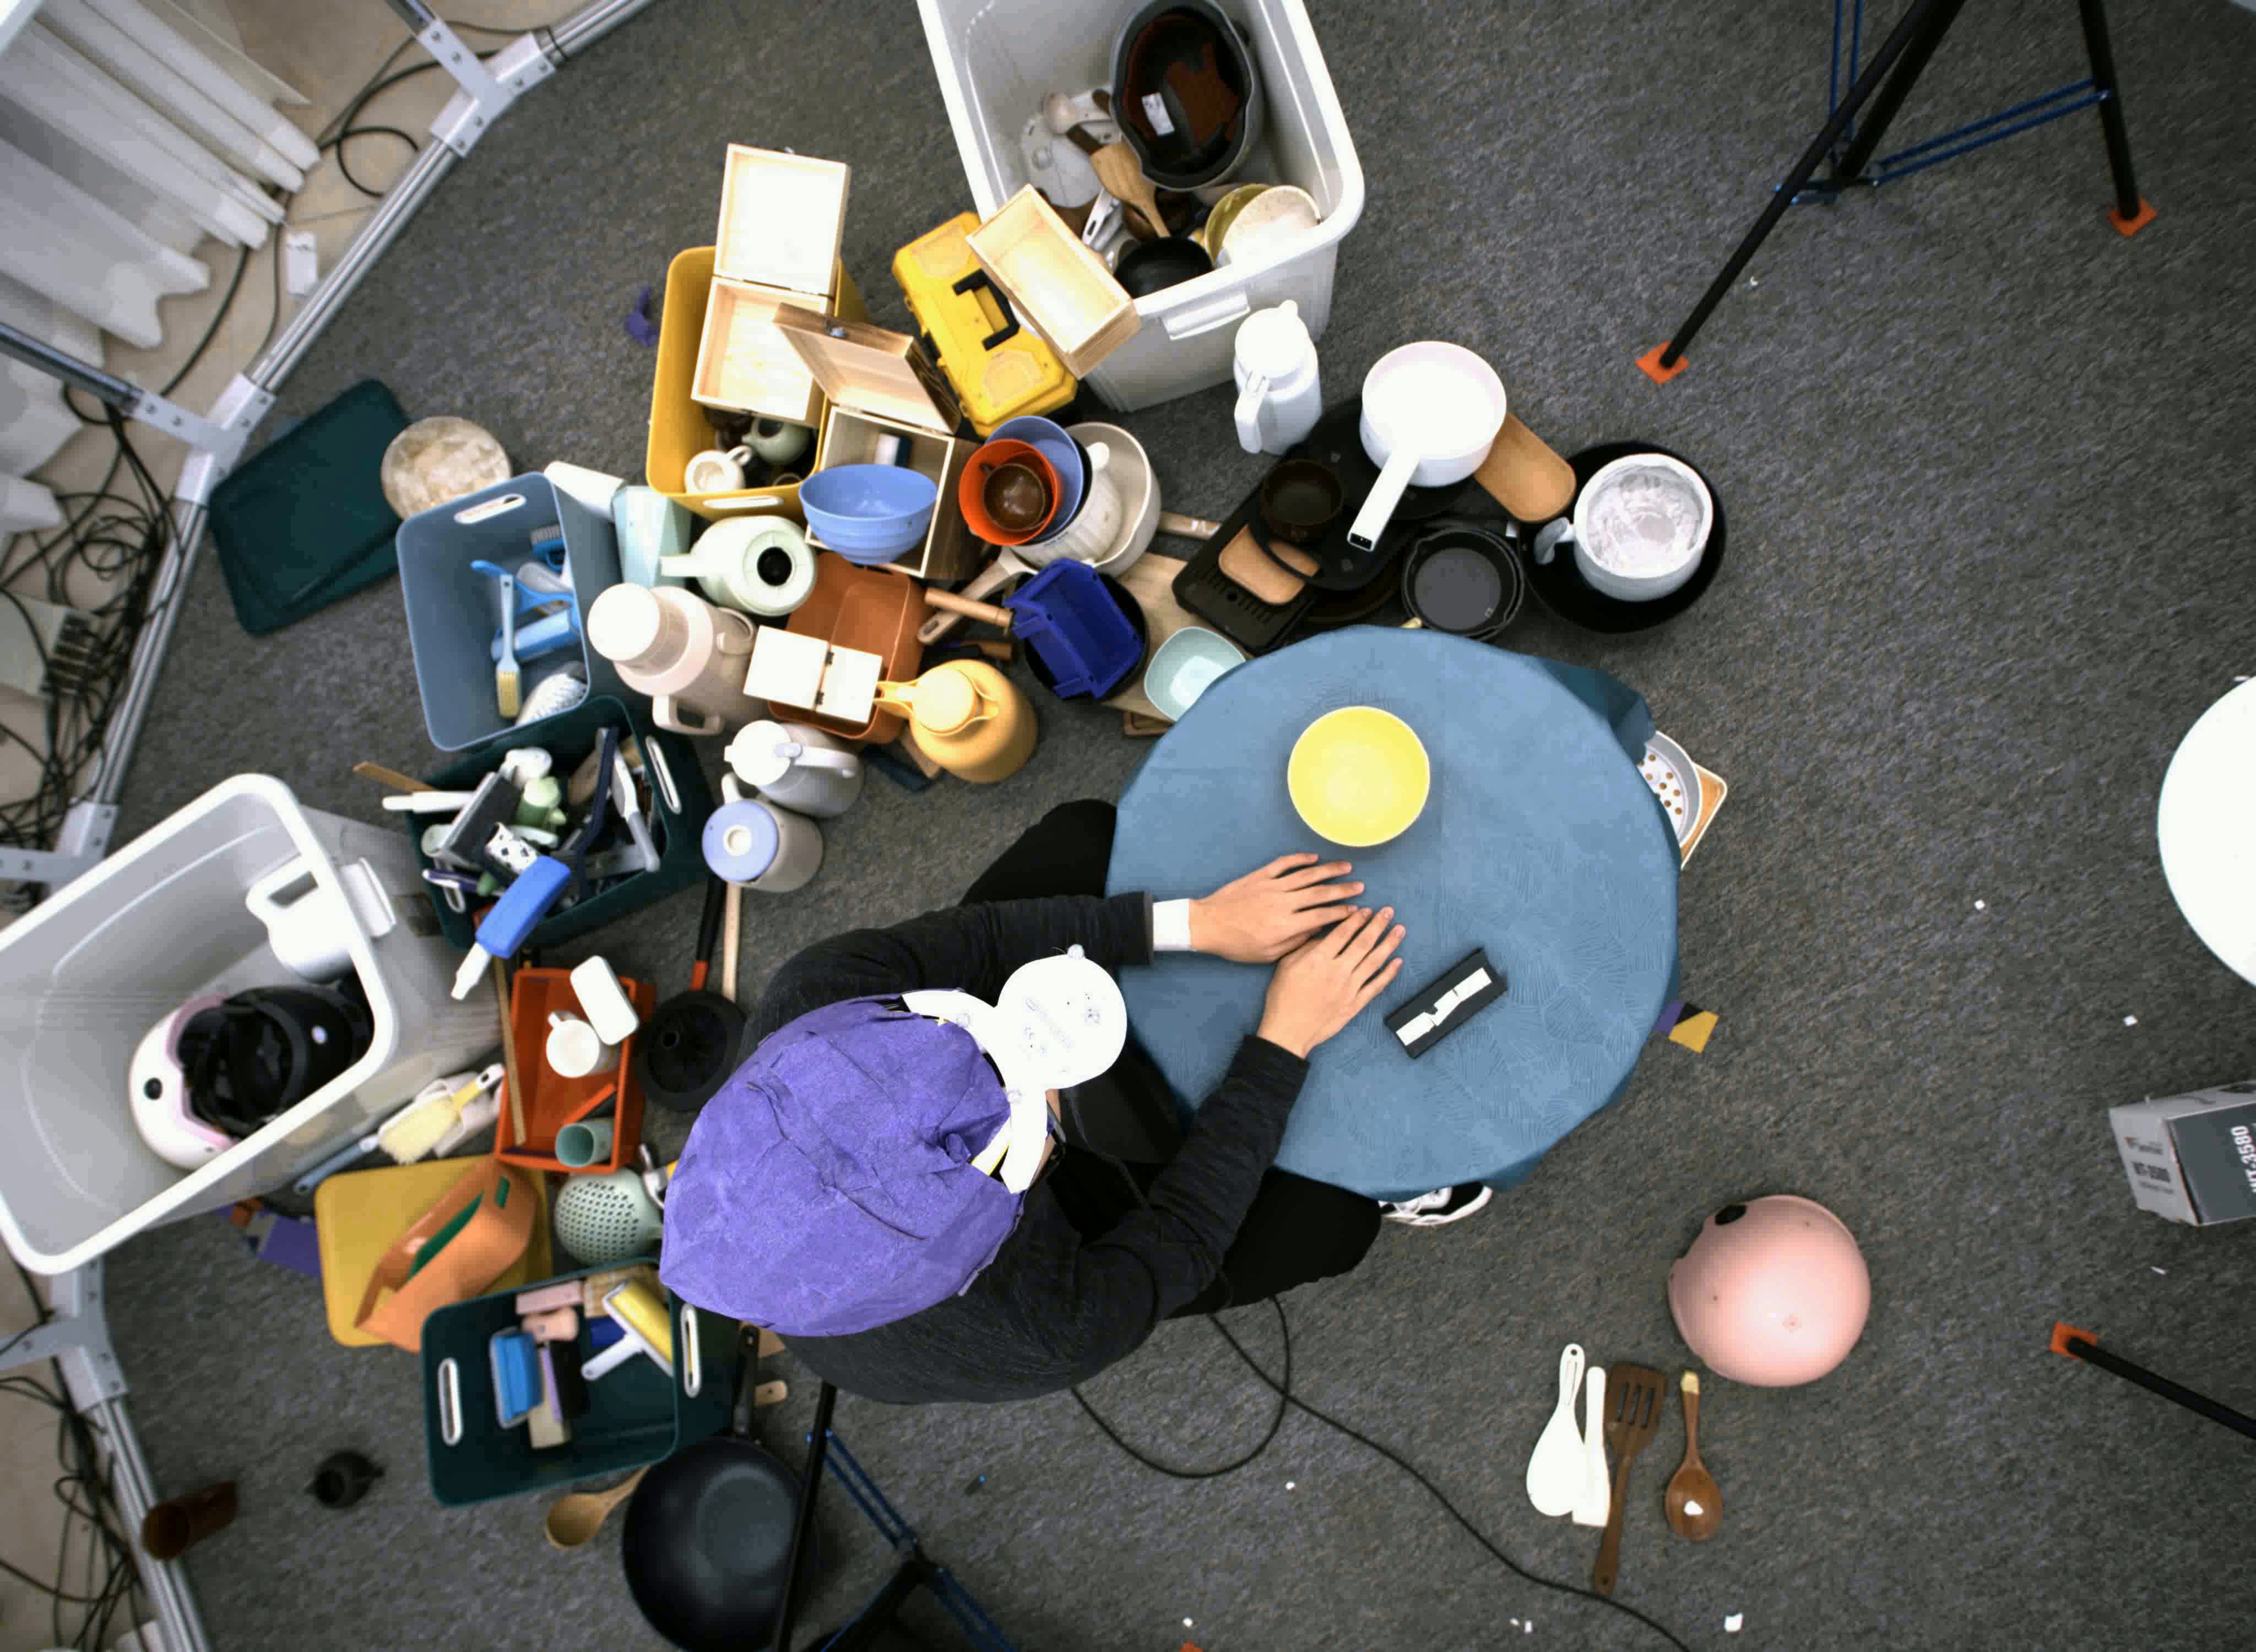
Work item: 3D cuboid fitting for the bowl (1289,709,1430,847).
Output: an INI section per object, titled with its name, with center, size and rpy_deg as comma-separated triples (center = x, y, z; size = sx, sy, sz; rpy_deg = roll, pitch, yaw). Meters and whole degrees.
[bowl]
center = 0.243, -0.047, 1.444
size = 0.146, 0.060, 0.144
rpy_deg = -1, 86, 13

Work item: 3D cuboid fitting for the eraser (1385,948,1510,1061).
[eraser]
center = 0.330, 0.182, 1.428
size = 0.126, 0.030, 0.053
rpy_deg = -40, 77, 6
